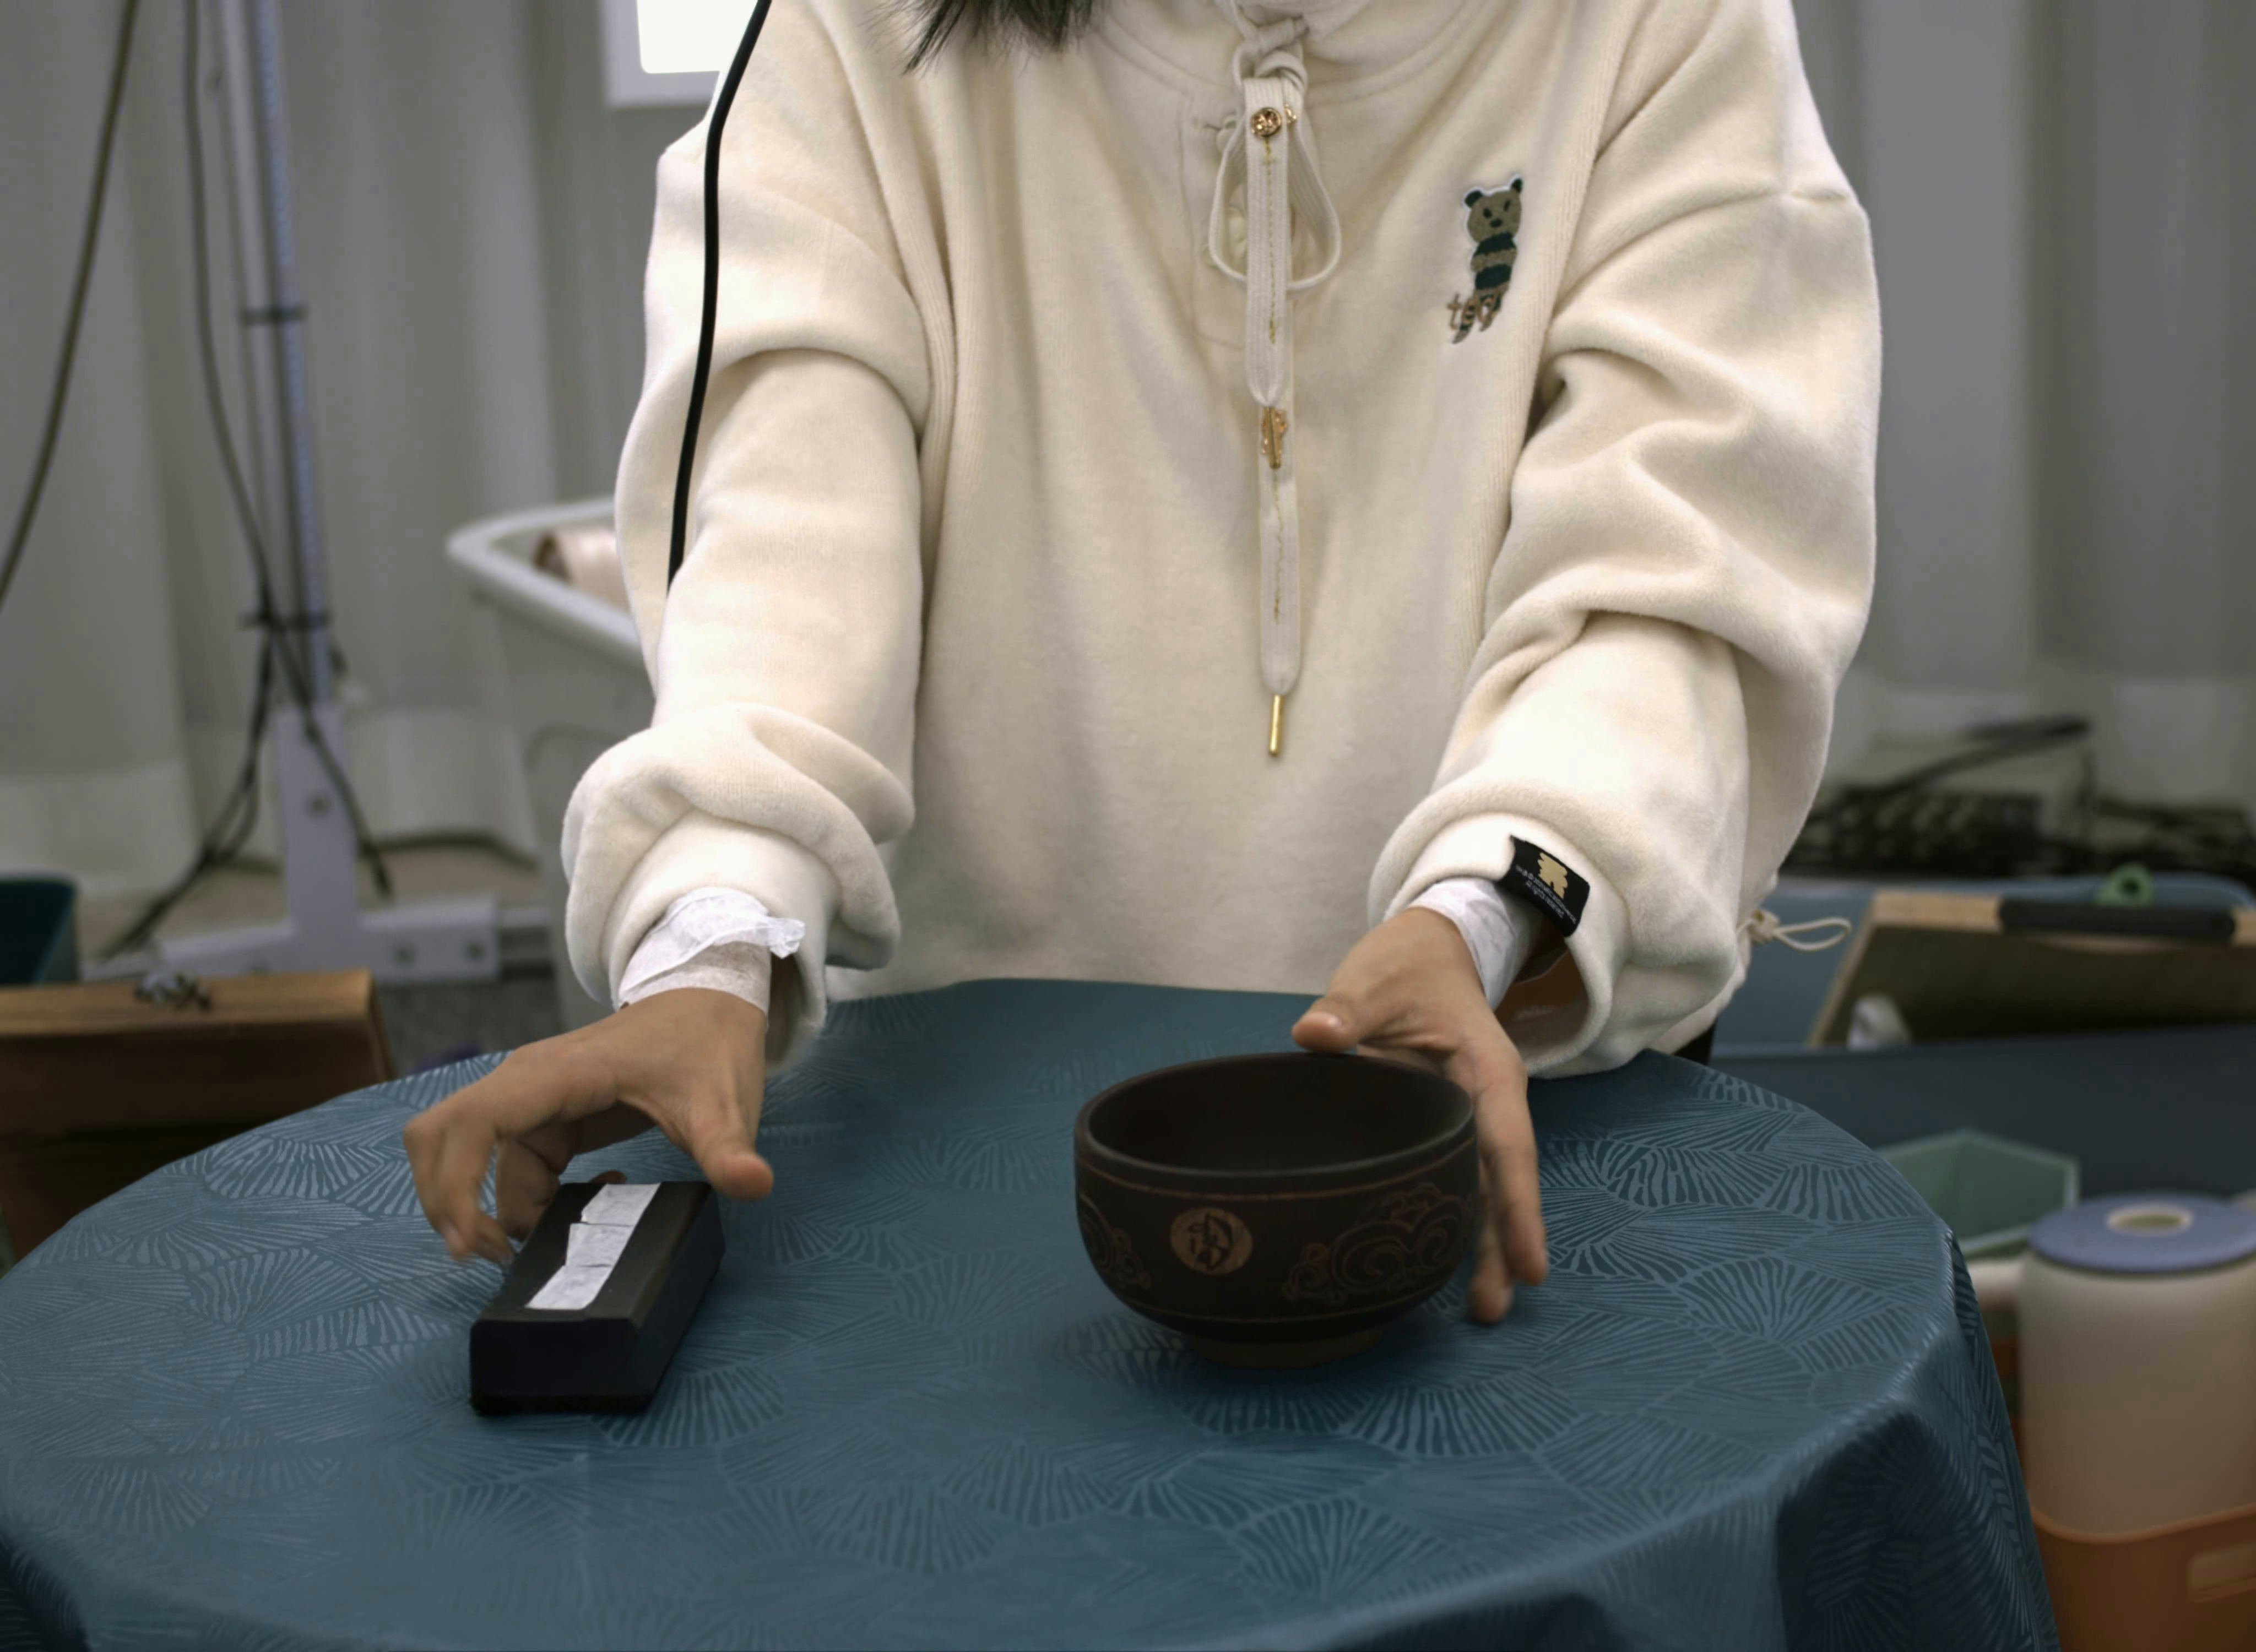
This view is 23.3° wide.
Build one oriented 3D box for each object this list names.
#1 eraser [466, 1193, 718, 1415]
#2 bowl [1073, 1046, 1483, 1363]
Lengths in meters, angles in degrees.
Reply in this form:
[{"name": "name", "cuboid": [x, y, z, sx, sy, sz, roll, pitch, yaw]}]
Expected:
[{"name": "eraser", "cuboid": [-0.155, 0.139, 1.601, 0.053, 0.030, 0.126, 0, 13, 5]}, {"name": "bowl", "cuboid": [0.044, 0.113, 1.573, 0.117, 0.069, 0.119, -3, 13, 0]}]
